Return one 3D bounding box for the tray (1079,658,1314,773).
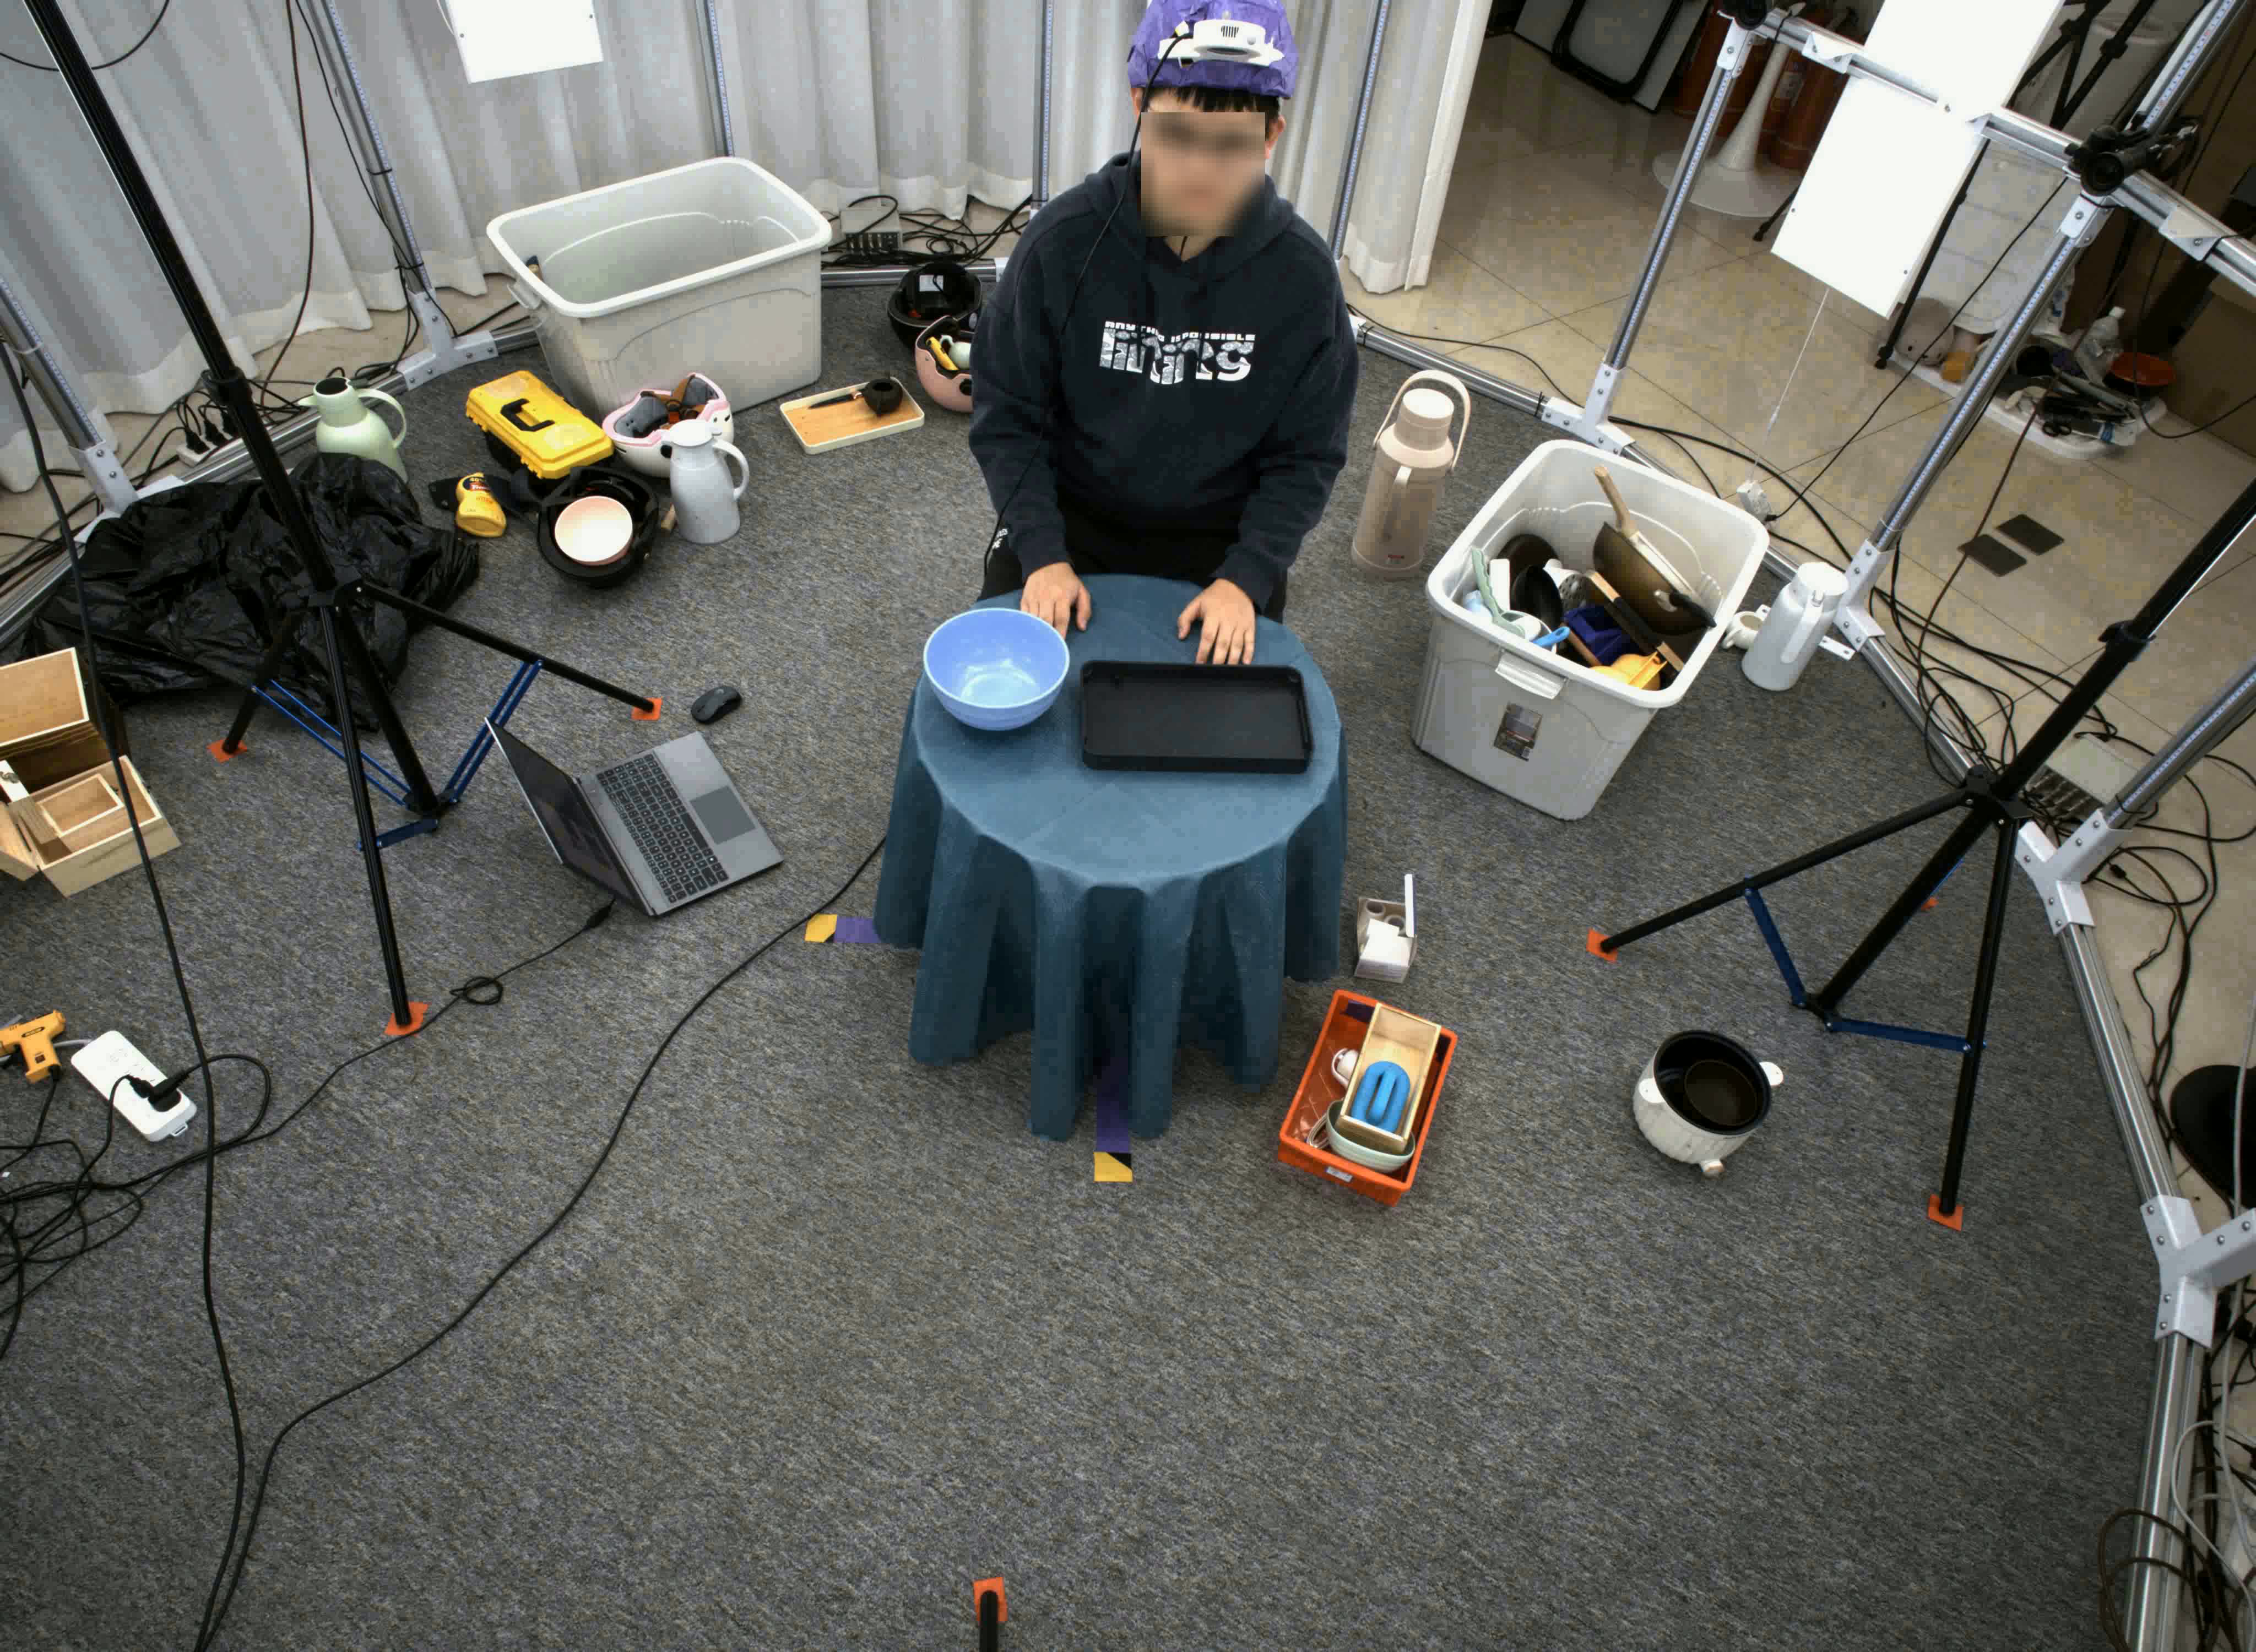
[{"bbox_3d":[0.091,-0.154,1.781,0.317,0.036,0.189,1,49,-4],"label":"tray"}]

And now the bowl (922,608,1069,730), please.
[{"bbox_3d":[-0.179,-0.201,1.763,0.196,0.093,0.201,1,49,-2],"label":"bowl"}]
